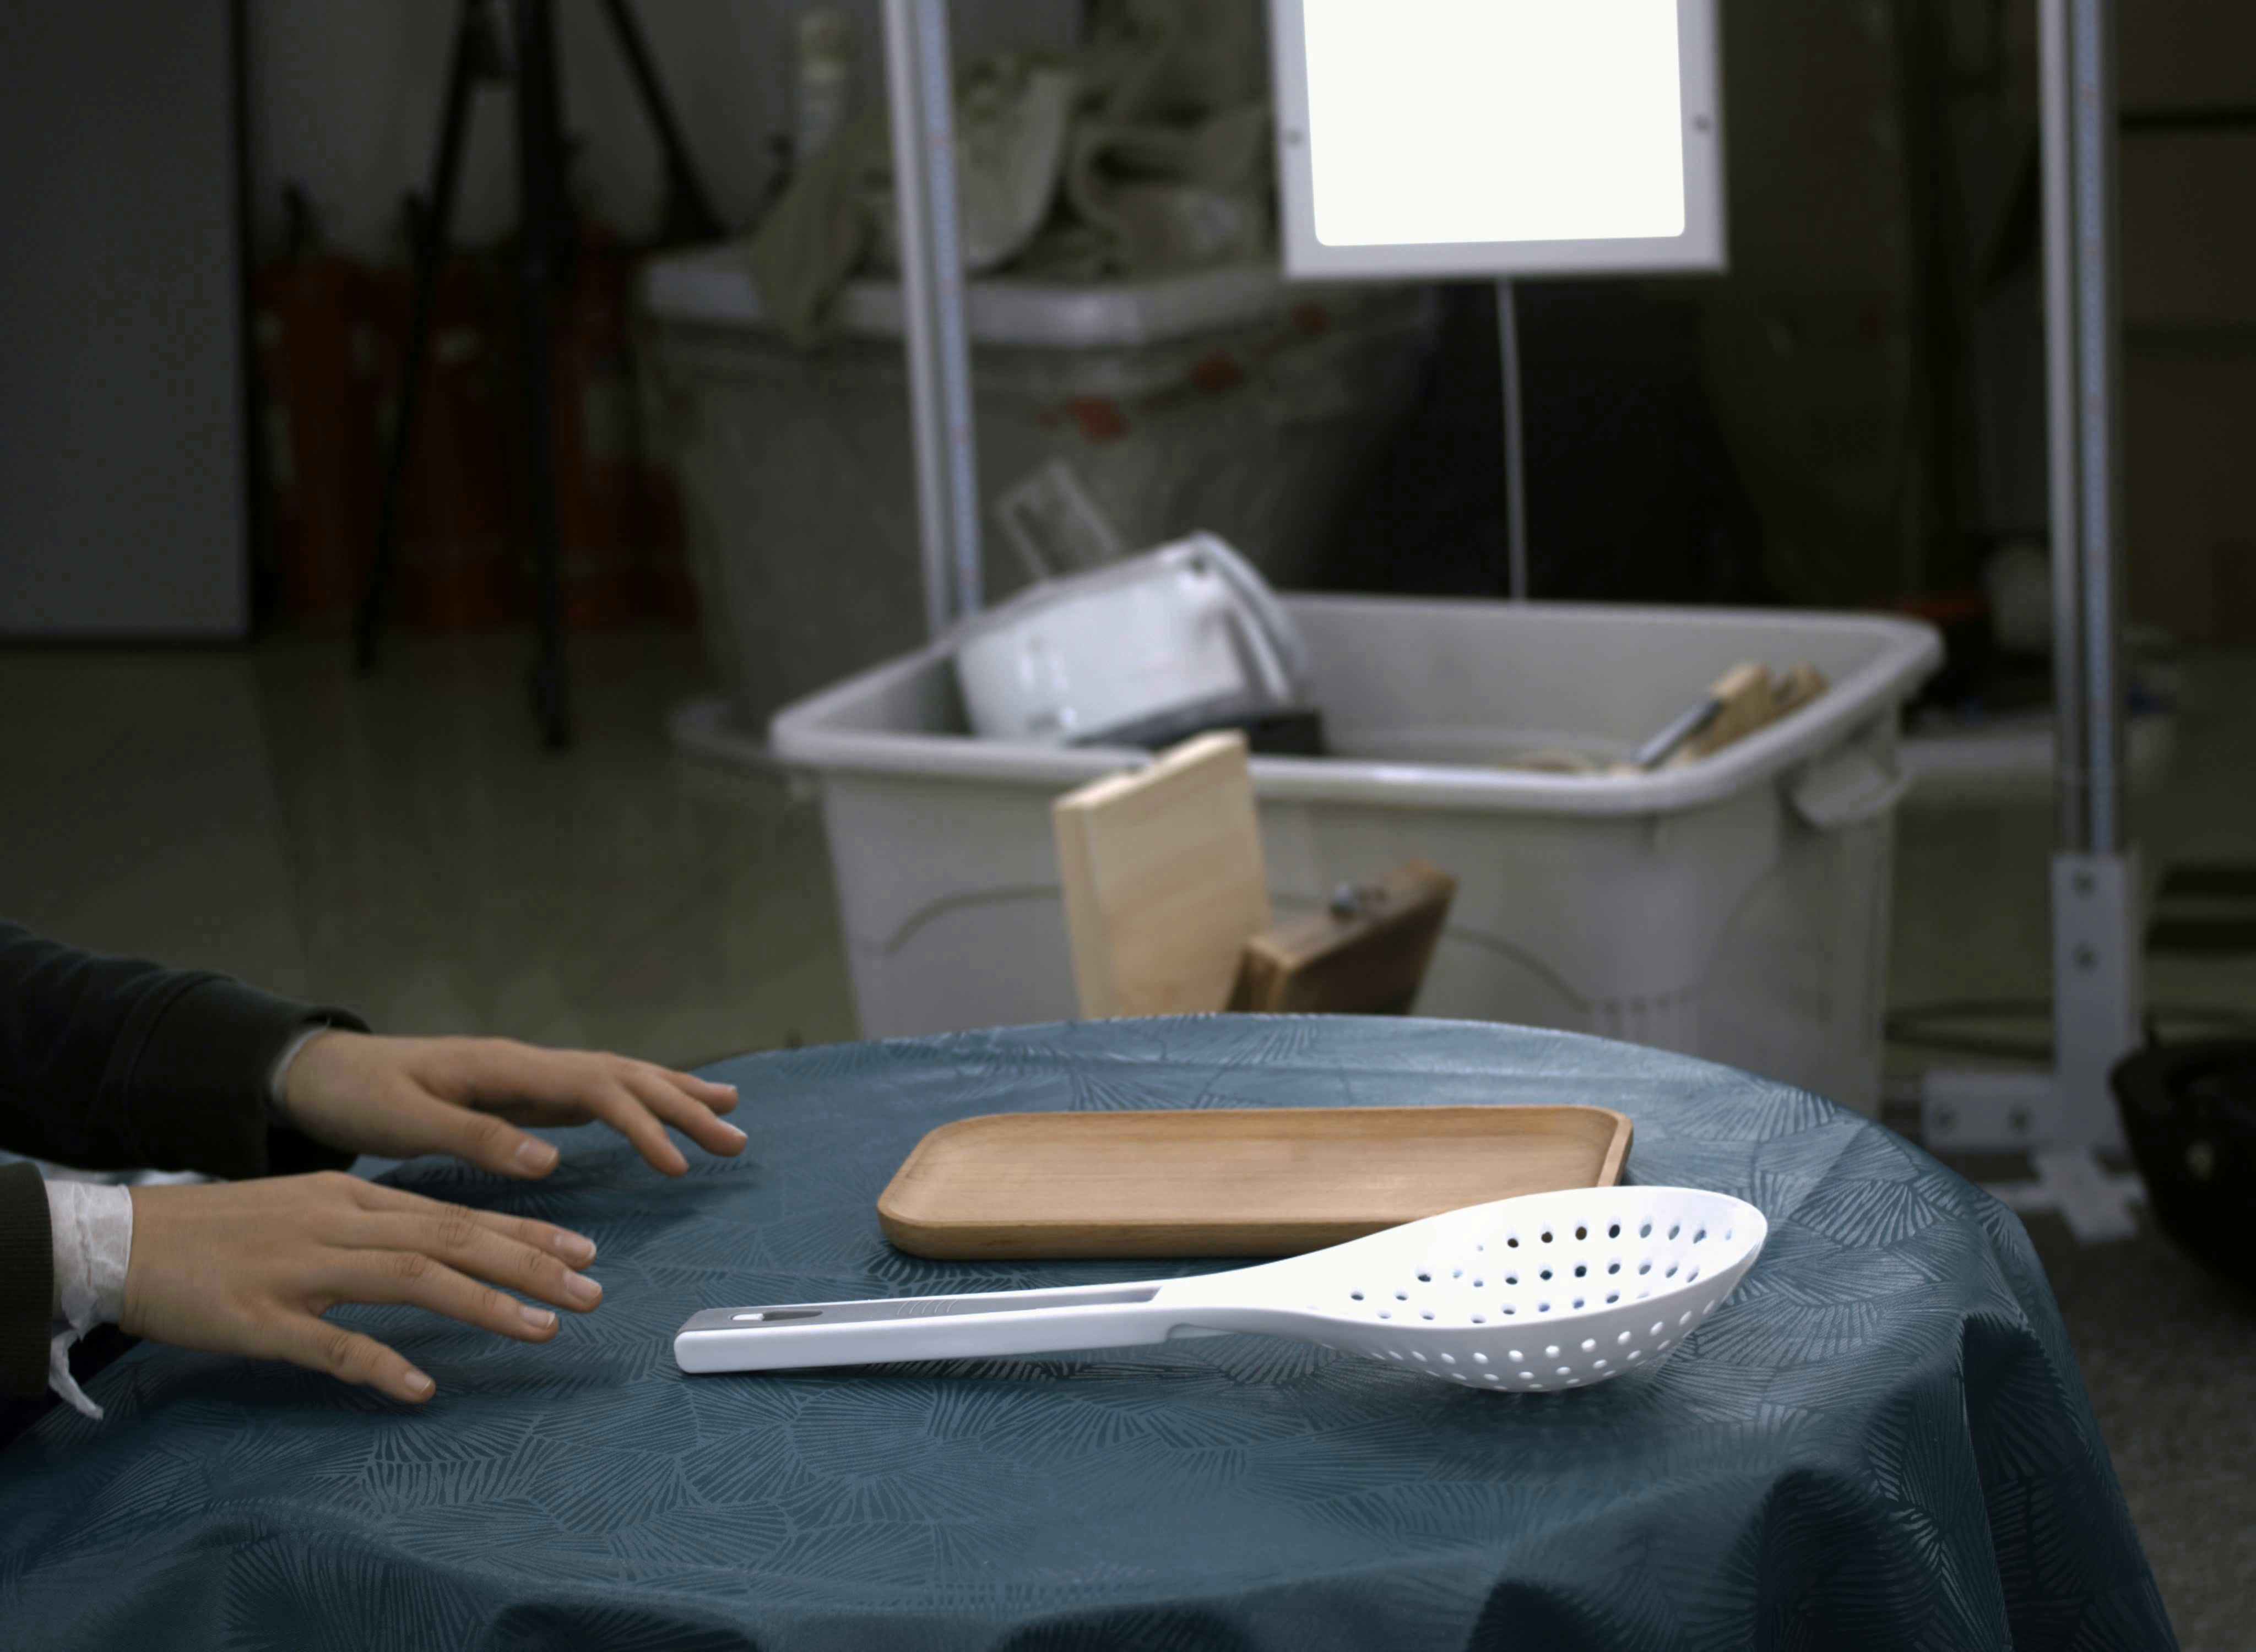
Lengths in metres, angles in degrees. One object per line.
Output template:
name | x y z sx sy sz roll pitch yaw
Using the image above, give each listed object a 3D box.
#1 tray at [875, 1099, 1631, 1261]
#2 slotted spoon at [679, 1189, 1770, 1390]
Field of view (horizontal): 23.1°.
tray | 0.044 0.121 1.871 0.253 0.023 0.129 -2 12 14
slotted spoon | 0.026 0.148 1.705 0.353 0.046 0.134 -1 12 17
